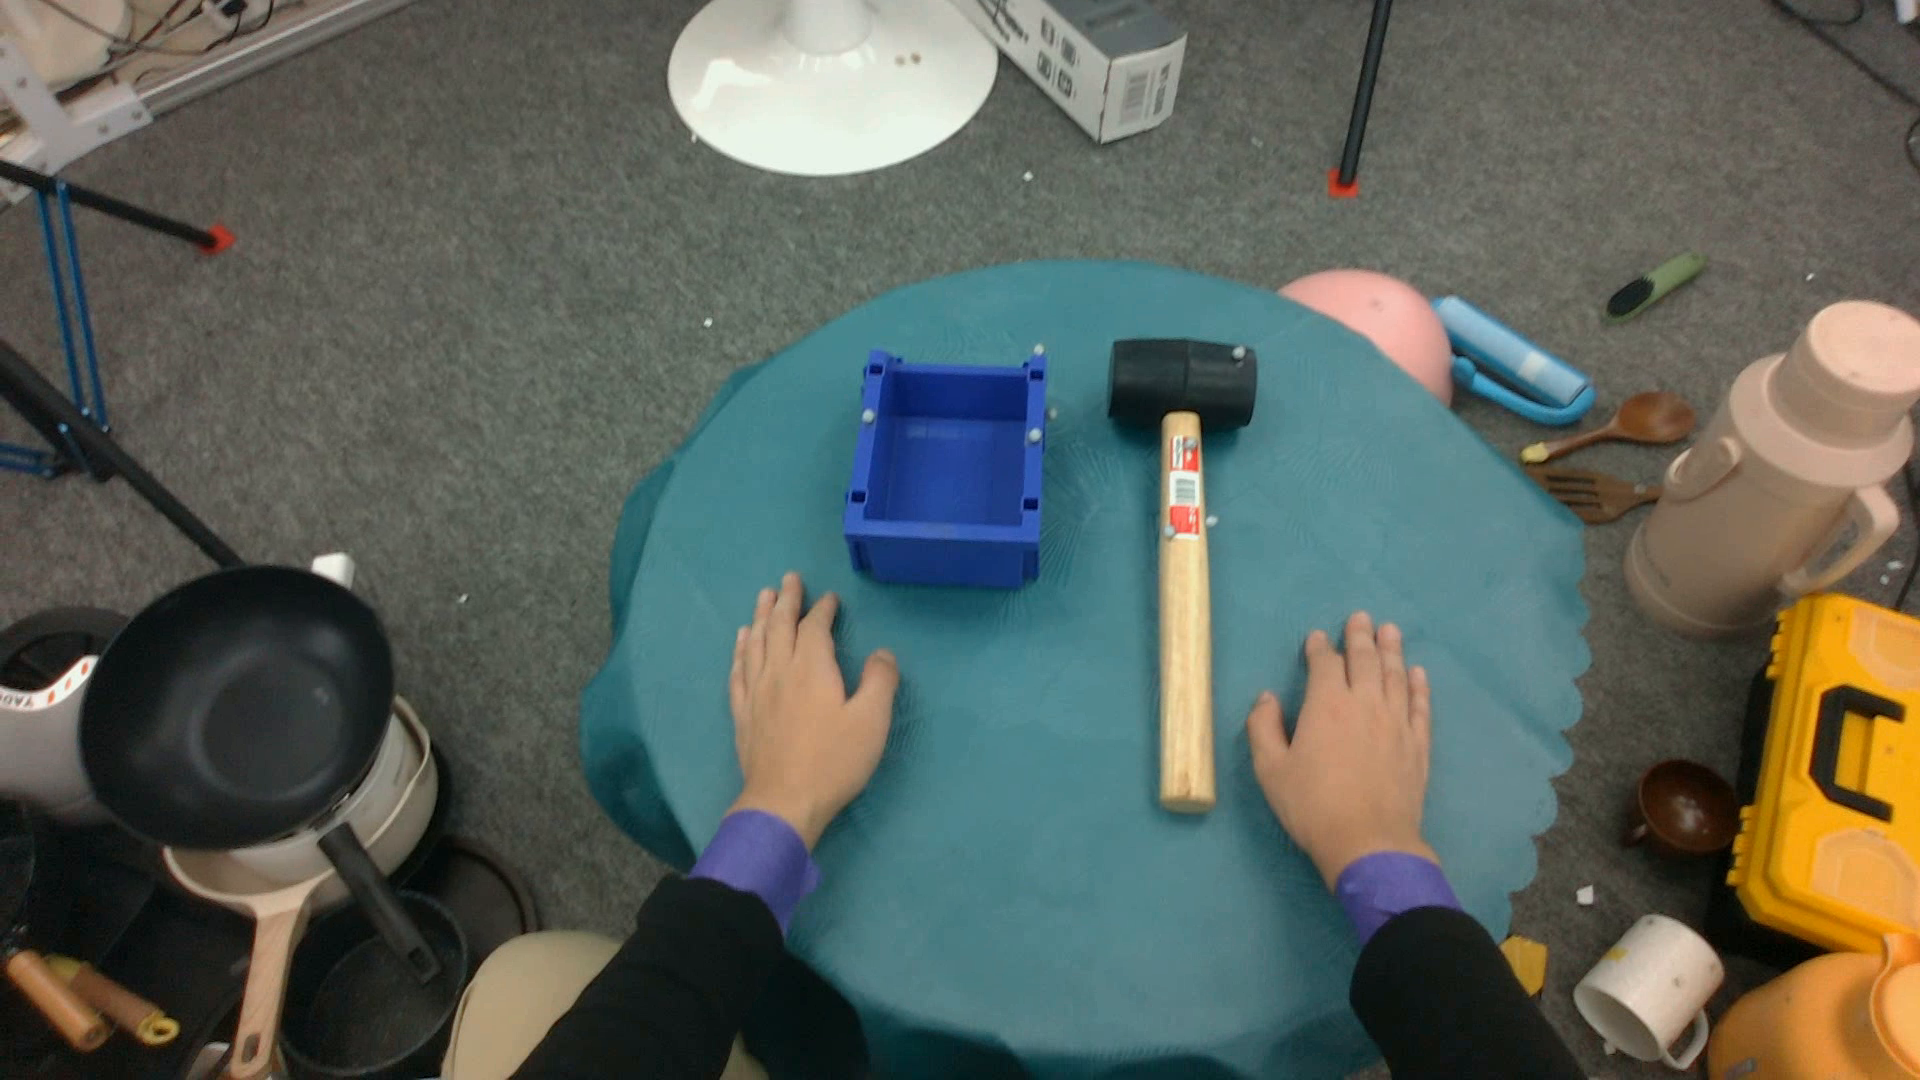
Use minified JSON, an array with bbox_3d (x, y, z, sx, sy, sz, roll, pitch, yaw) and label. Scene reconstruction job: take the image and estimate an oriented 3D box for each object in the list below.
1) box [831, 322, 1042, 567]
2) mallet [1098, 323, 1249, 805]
[{"bbox_3d":[-0.012,-0.071,0.916,0.124,0.081,0.180,3,61,4],"label":"box"},{"bbox_3d":[0.137,-0.001,0.879,0.102,0.064,0.340,3,58,4],"label":"mallet"}]
